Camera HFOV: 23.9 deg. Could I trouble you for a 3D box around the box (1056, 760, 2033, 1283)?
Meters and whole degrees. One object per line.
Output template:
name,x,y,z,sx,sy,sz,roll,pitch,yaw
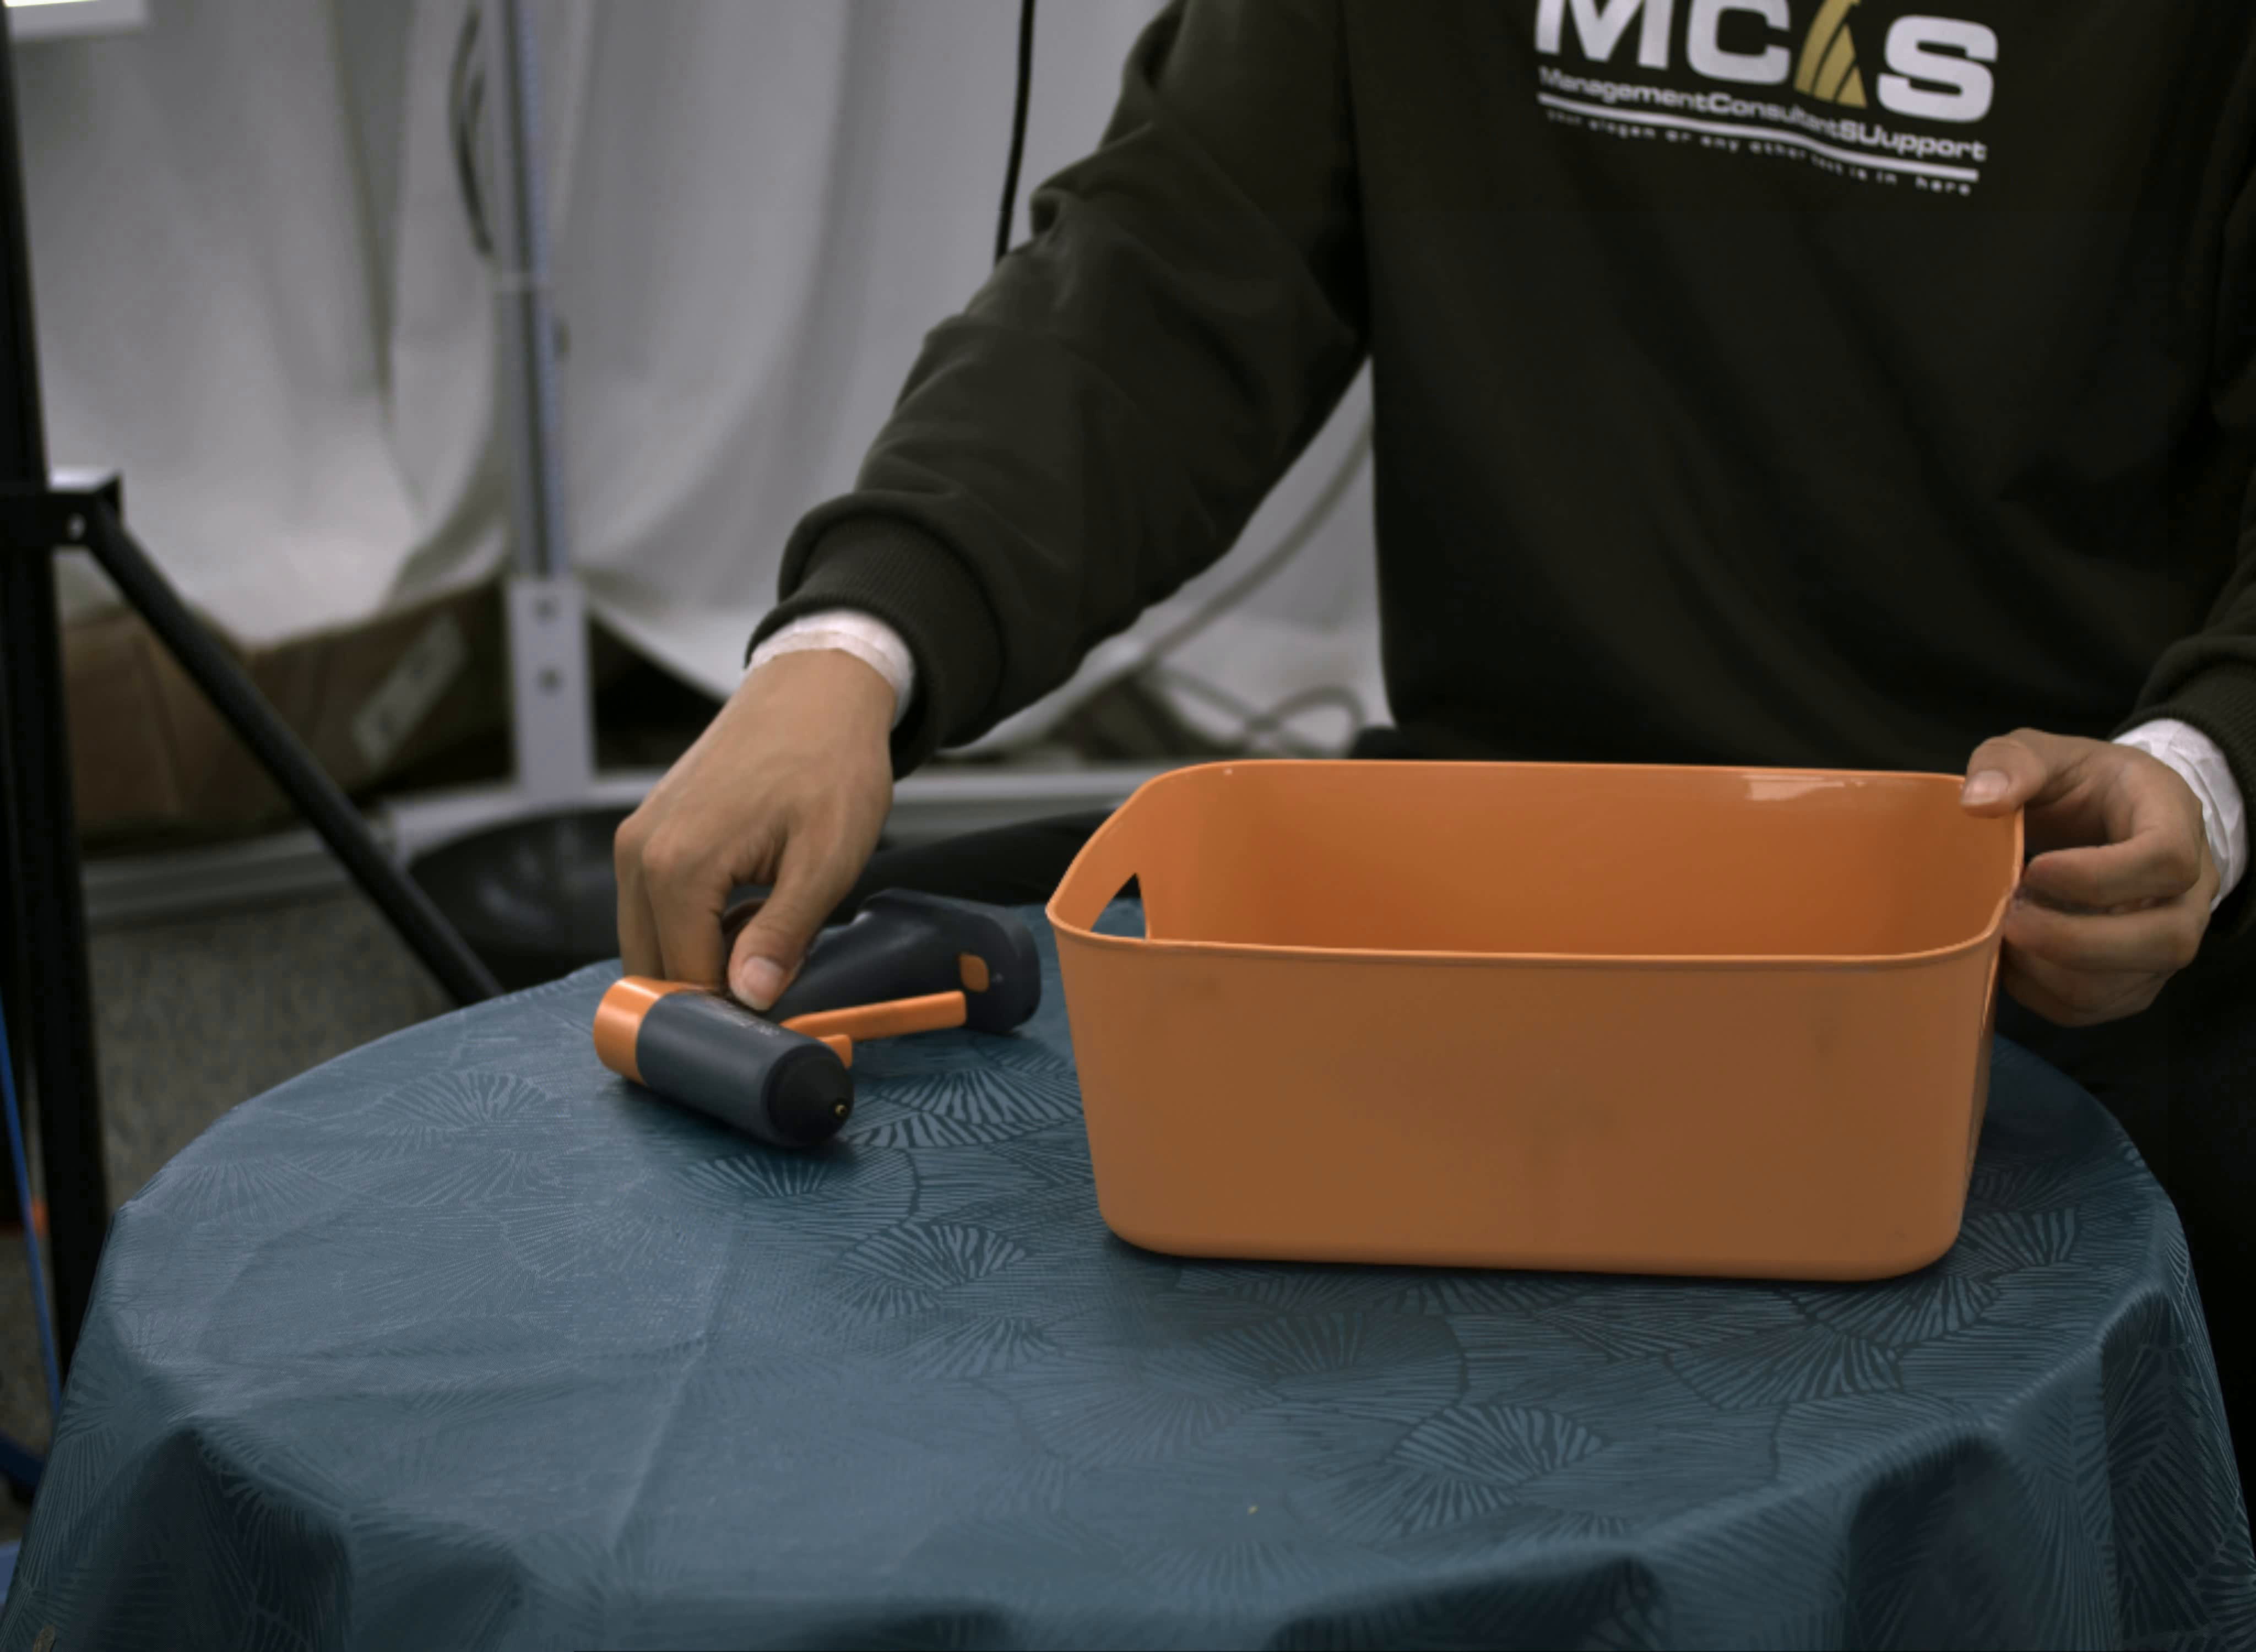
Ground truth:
box,0.124,0.055,1.536,0.275,0.102,0.198,1,16,14

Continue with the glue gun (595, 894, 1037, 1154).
glue gun,-0.094,0.064,1.669,0.120,0.041,0.137,9,22,38
